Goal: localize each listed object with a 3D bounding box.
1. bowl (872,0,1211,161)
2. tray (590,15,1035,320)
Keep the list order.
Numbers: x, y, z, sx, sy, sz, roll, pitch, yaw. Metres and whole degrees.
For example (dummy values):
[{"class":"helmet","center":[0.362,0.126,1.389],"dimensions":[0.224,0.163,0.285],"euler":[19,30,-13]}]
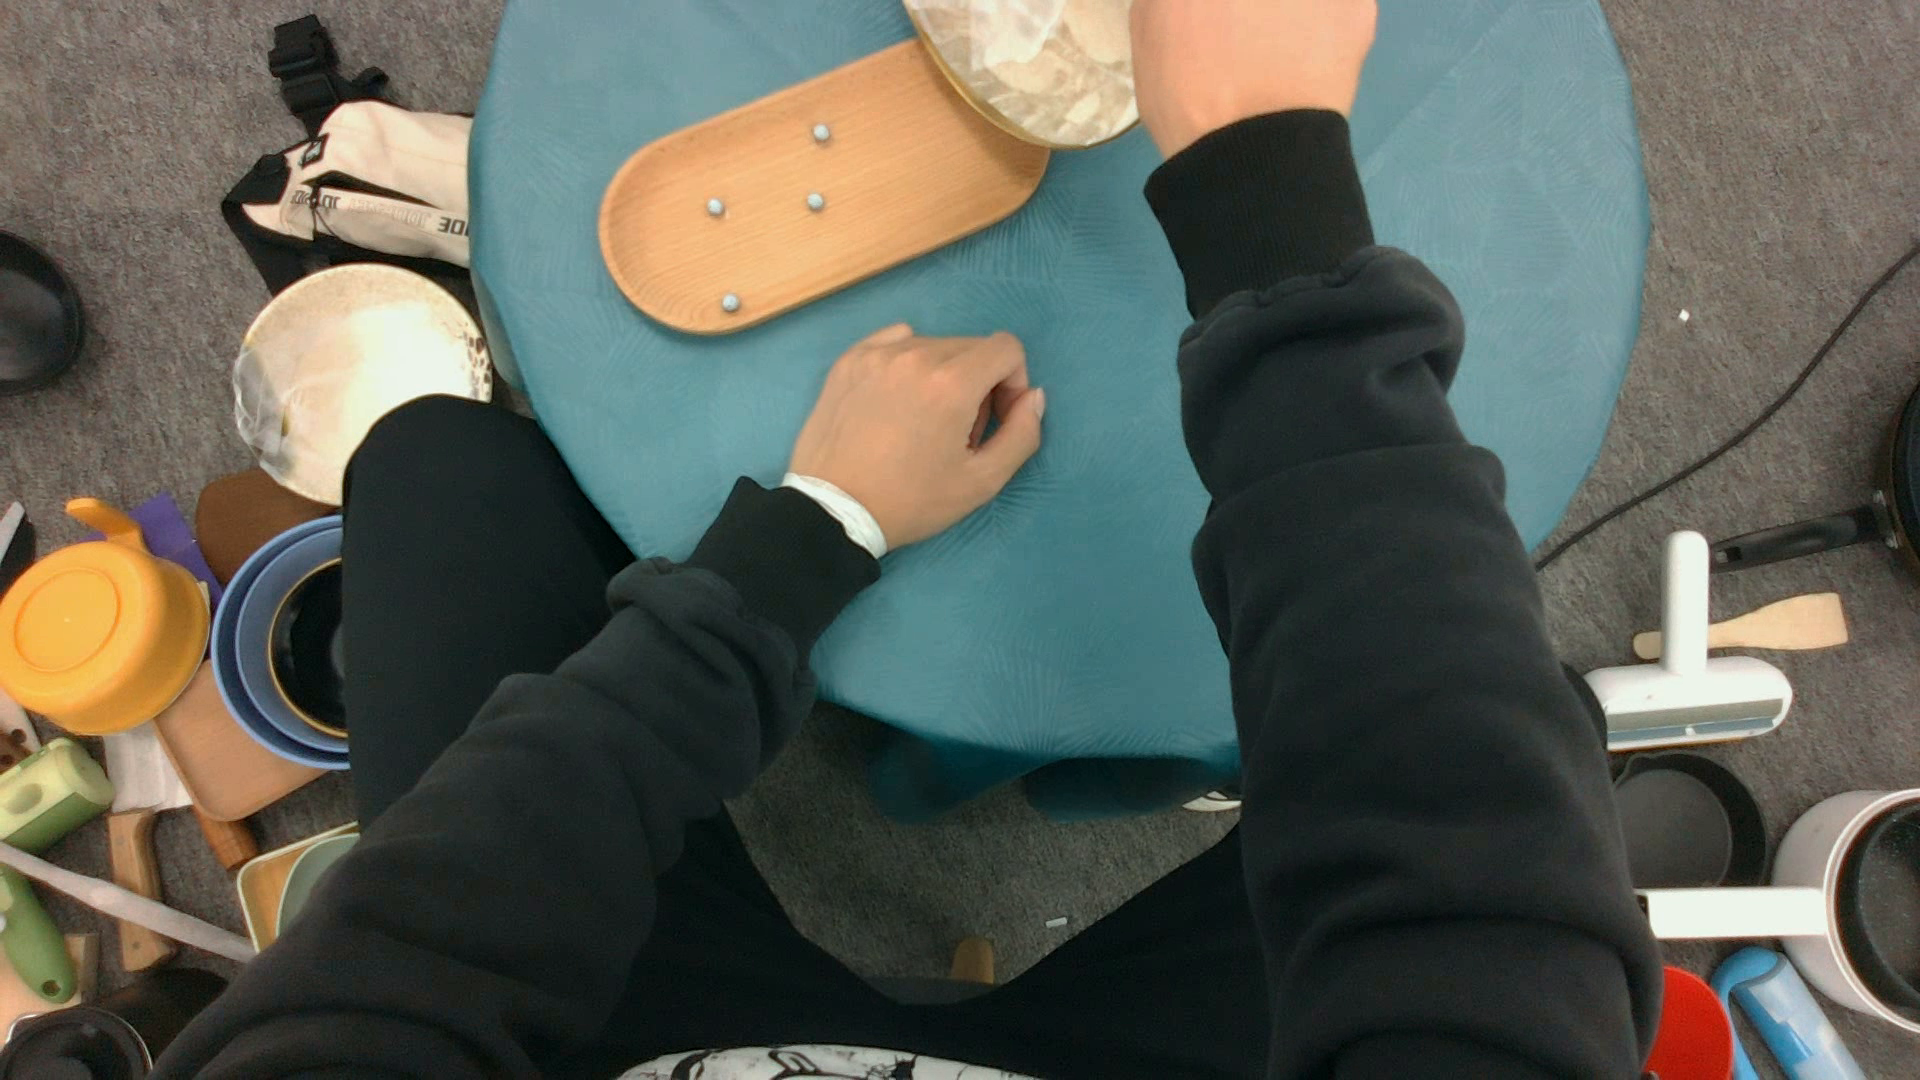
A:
[{"class":"bowl","center":[0.045,-0.286,0.611],"dimensions":[0.095,0.213,0.215],"euler":[-35,86,-31]},{"class":"tray","center":[-0.069,-0.184,0.679],"dimensions":[0.231,0.020,0.101],"euler":[-26,87,-11]}]
